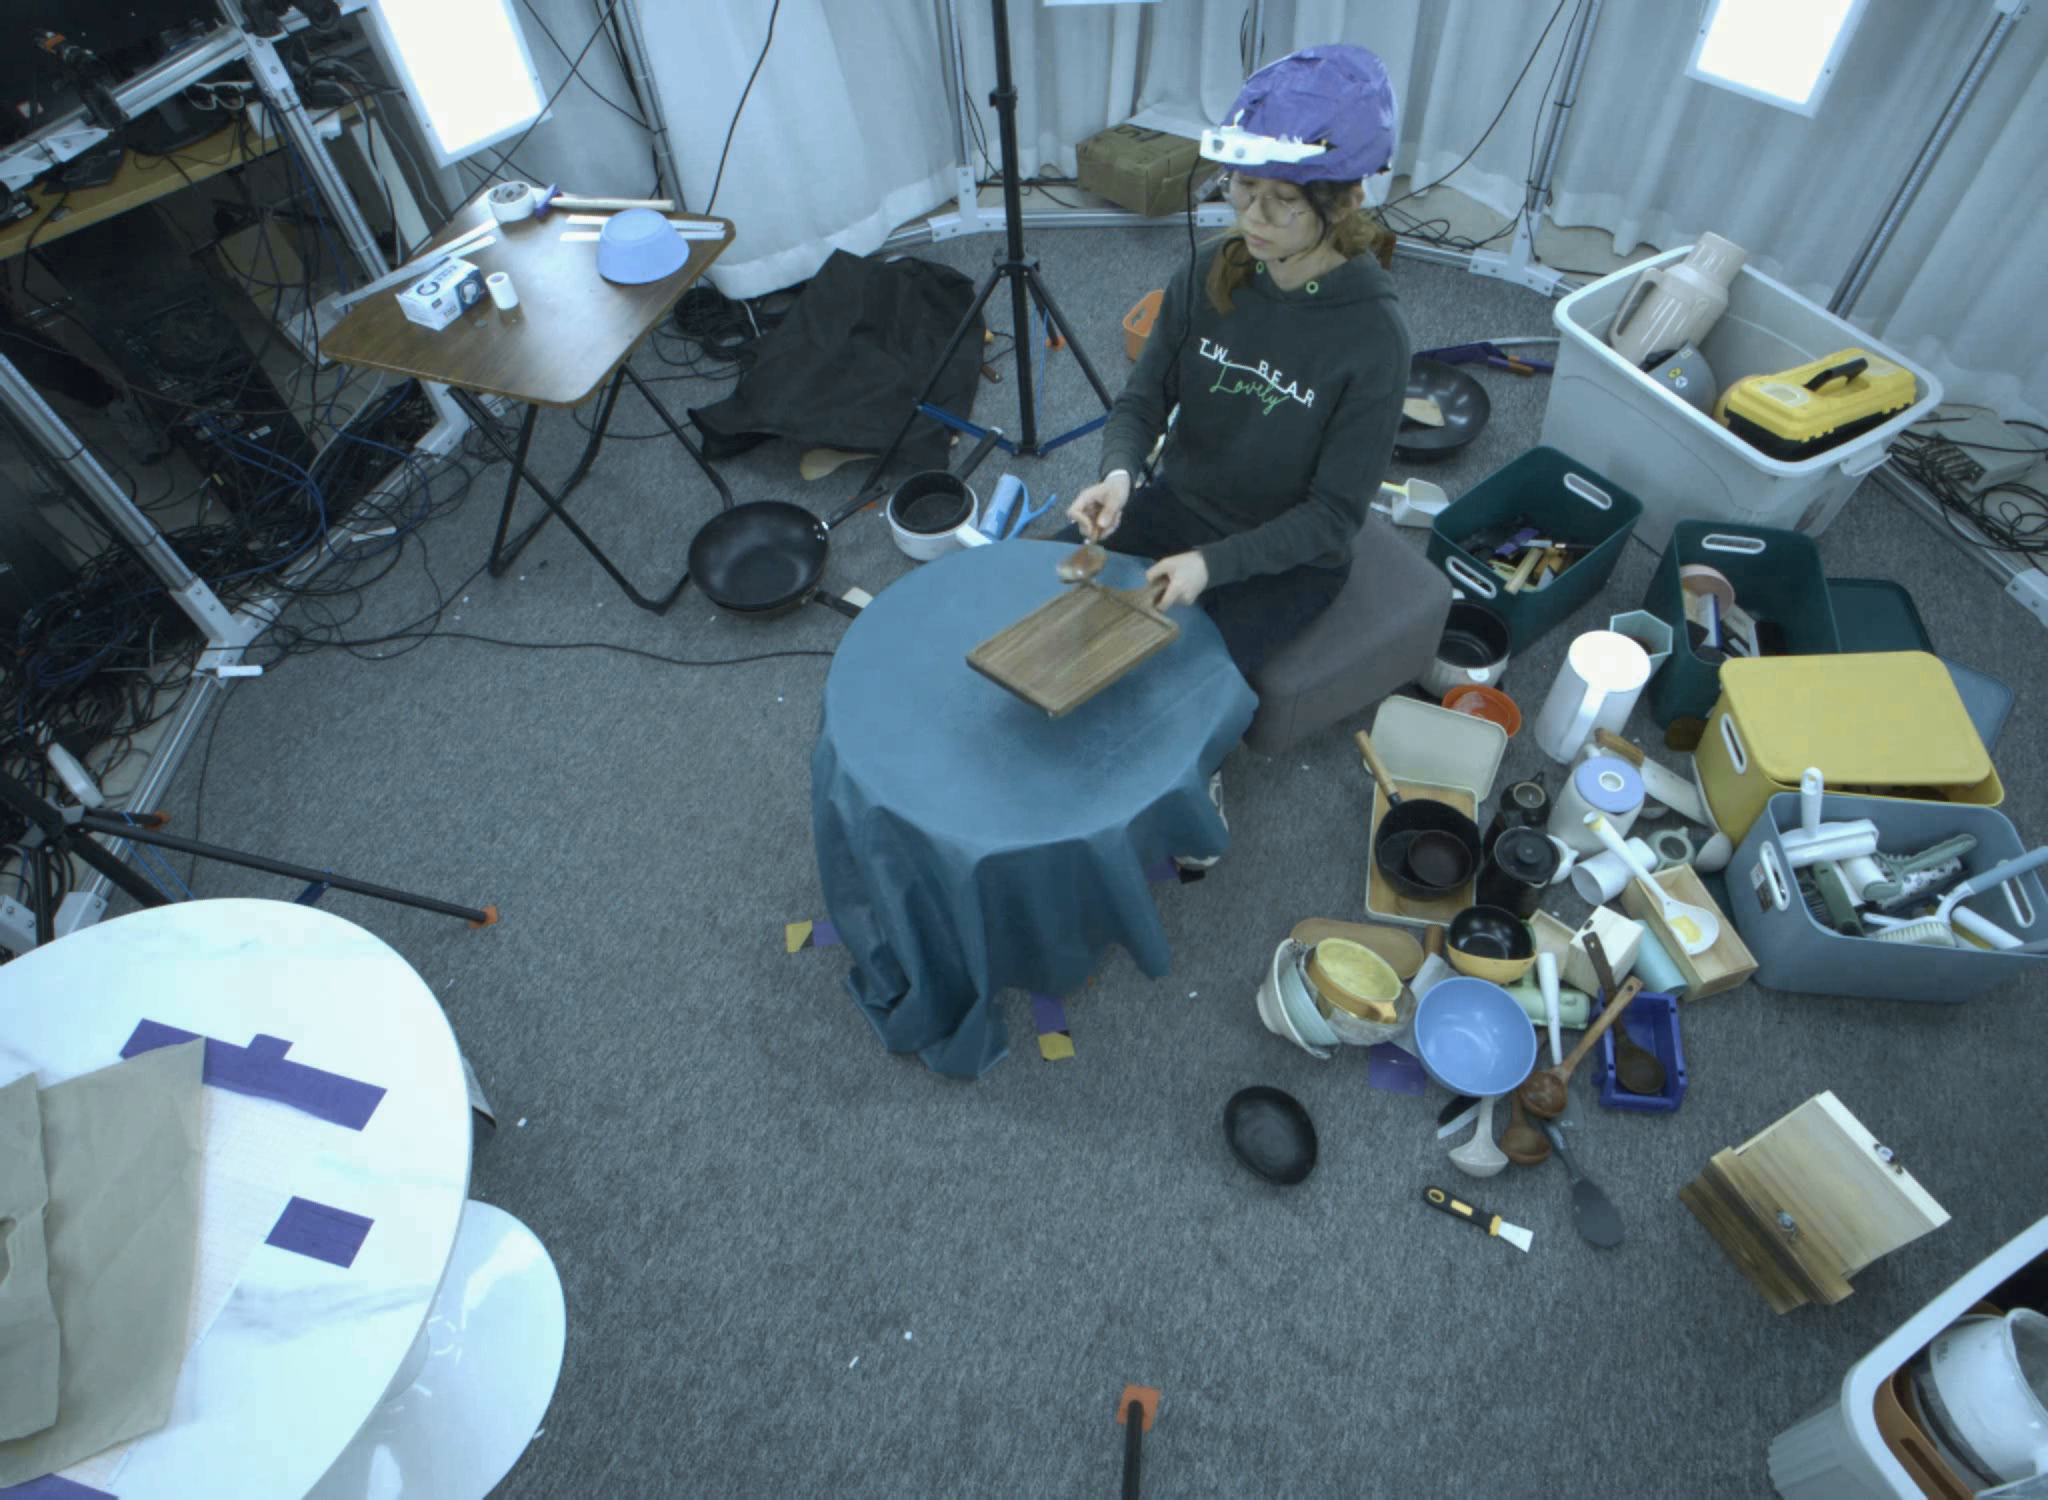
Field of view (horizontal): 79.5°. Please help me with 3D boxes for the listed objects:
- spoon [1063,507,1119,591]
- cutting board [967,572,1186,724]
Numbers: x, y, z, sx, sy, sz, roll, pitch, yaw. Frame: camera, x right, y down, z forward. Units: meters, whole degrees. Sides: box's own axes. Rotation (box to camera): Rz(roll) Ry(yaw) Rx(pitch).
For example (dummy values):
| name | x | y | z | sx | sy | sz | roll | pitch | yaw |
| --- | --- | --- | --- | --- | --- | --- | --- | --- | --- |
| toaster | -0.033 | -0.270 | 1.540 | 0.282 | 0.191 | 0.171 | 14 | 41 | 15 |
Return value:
| name | x | y | z | sx | sy | sz | roll | pitch | yaw |
| --- | --- | --- | --- | --- | --- | --- | --- | --- | --- |
| spoon | 0.105 | -0.287 | 1.749 | 0.074 | 0.017 | 0.215 | -11 | 37 | 26 |
| cutting board | 0.109 | -0.169 | 1.782 | 0.355 | 0.023 | 0.196 | -35 | 48 | -27 |
